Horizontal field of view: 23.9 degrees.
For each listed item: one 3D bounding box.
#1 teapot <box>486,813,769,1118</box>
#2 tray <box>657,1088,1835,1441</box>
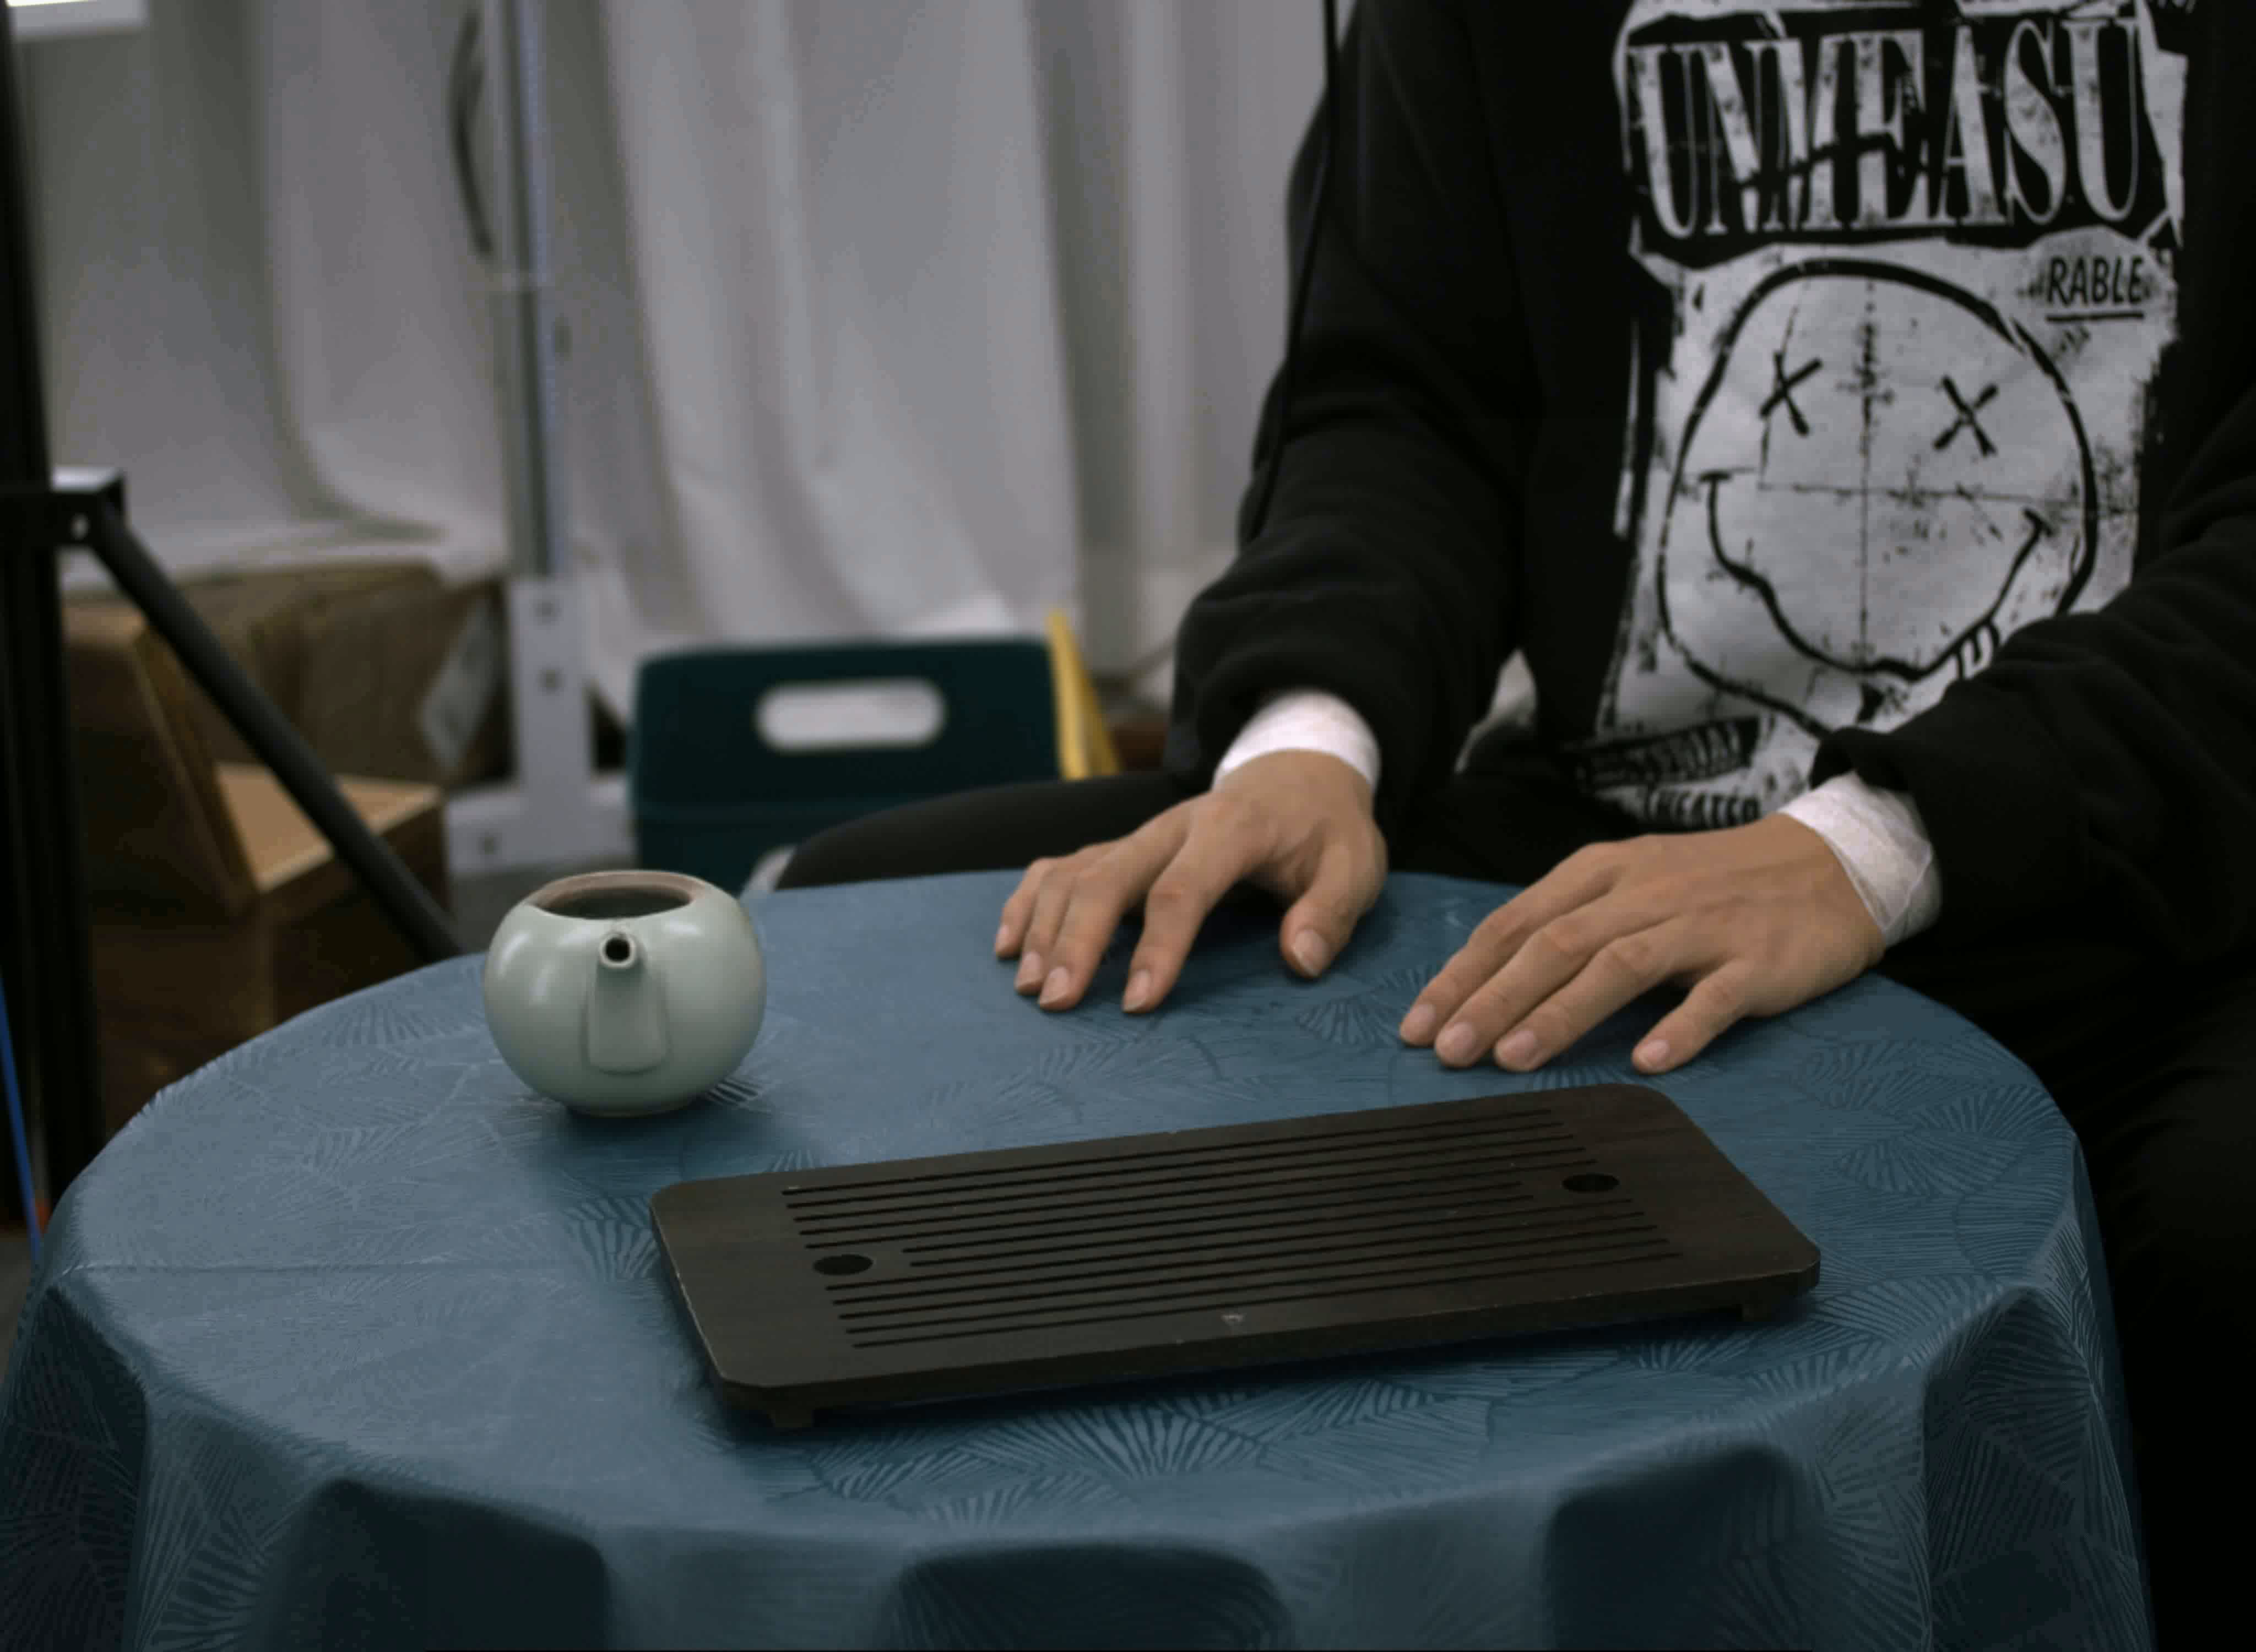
[{"bbox_3d":[-0.155,0.049,1.655,0.088,0.074,0.145,-3,17,-2],"label":"teapot"},{"bbox_3d":[0.029,0.120,1.473,0.302,0.018,0.172,-5,16,-9],"label":"tray"}]
